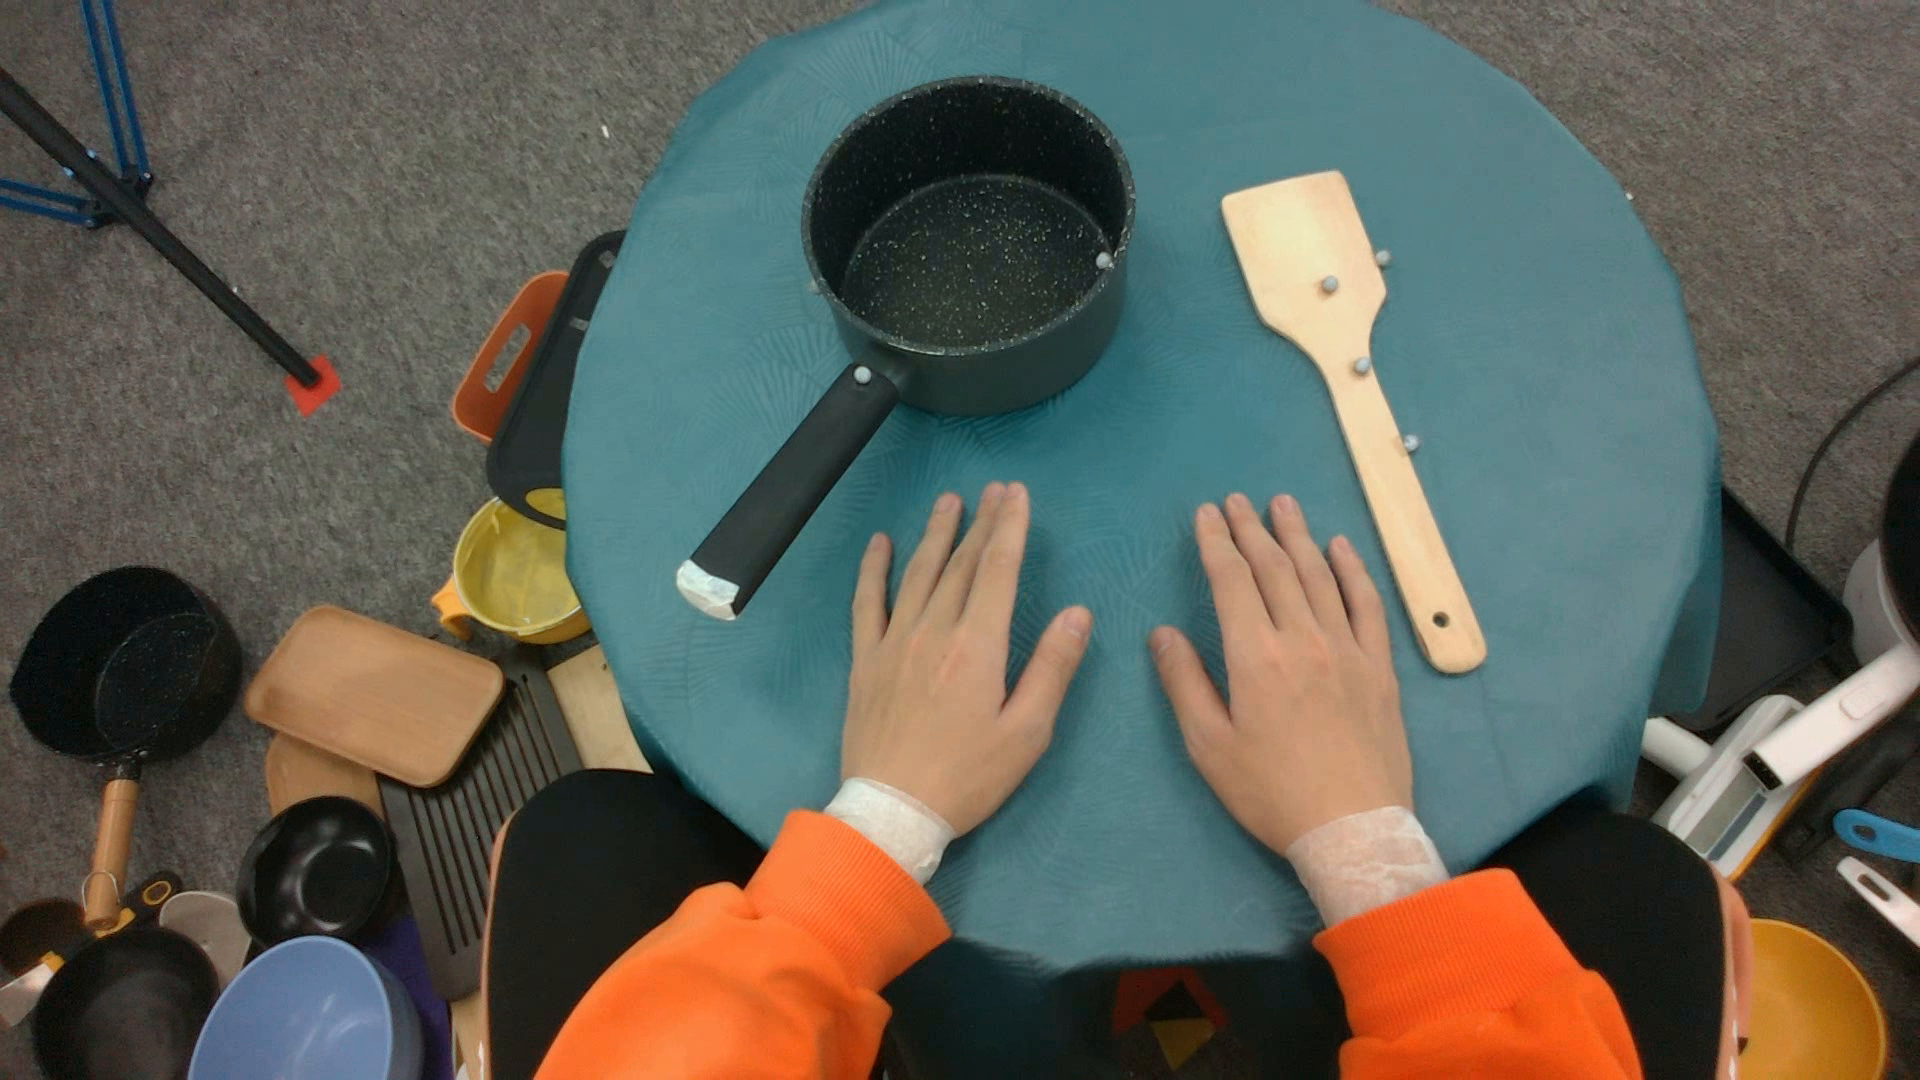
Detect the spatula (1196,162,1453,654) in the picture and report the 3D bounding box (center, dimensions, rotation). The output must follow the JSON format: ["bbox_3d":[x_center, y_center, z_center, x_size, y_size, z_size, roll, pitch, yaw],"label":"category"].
[{"bbox_3d":[0.194,-0.077,0.712,0.072,0.010,0.294,-11,65,-3],"label":"spatula"}]

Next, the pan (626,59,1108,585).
[{"bbox_3d":[-0.049,-0.101,0.705,0.172,0.086,0.330,28,70,17],"label":"pan"}]
